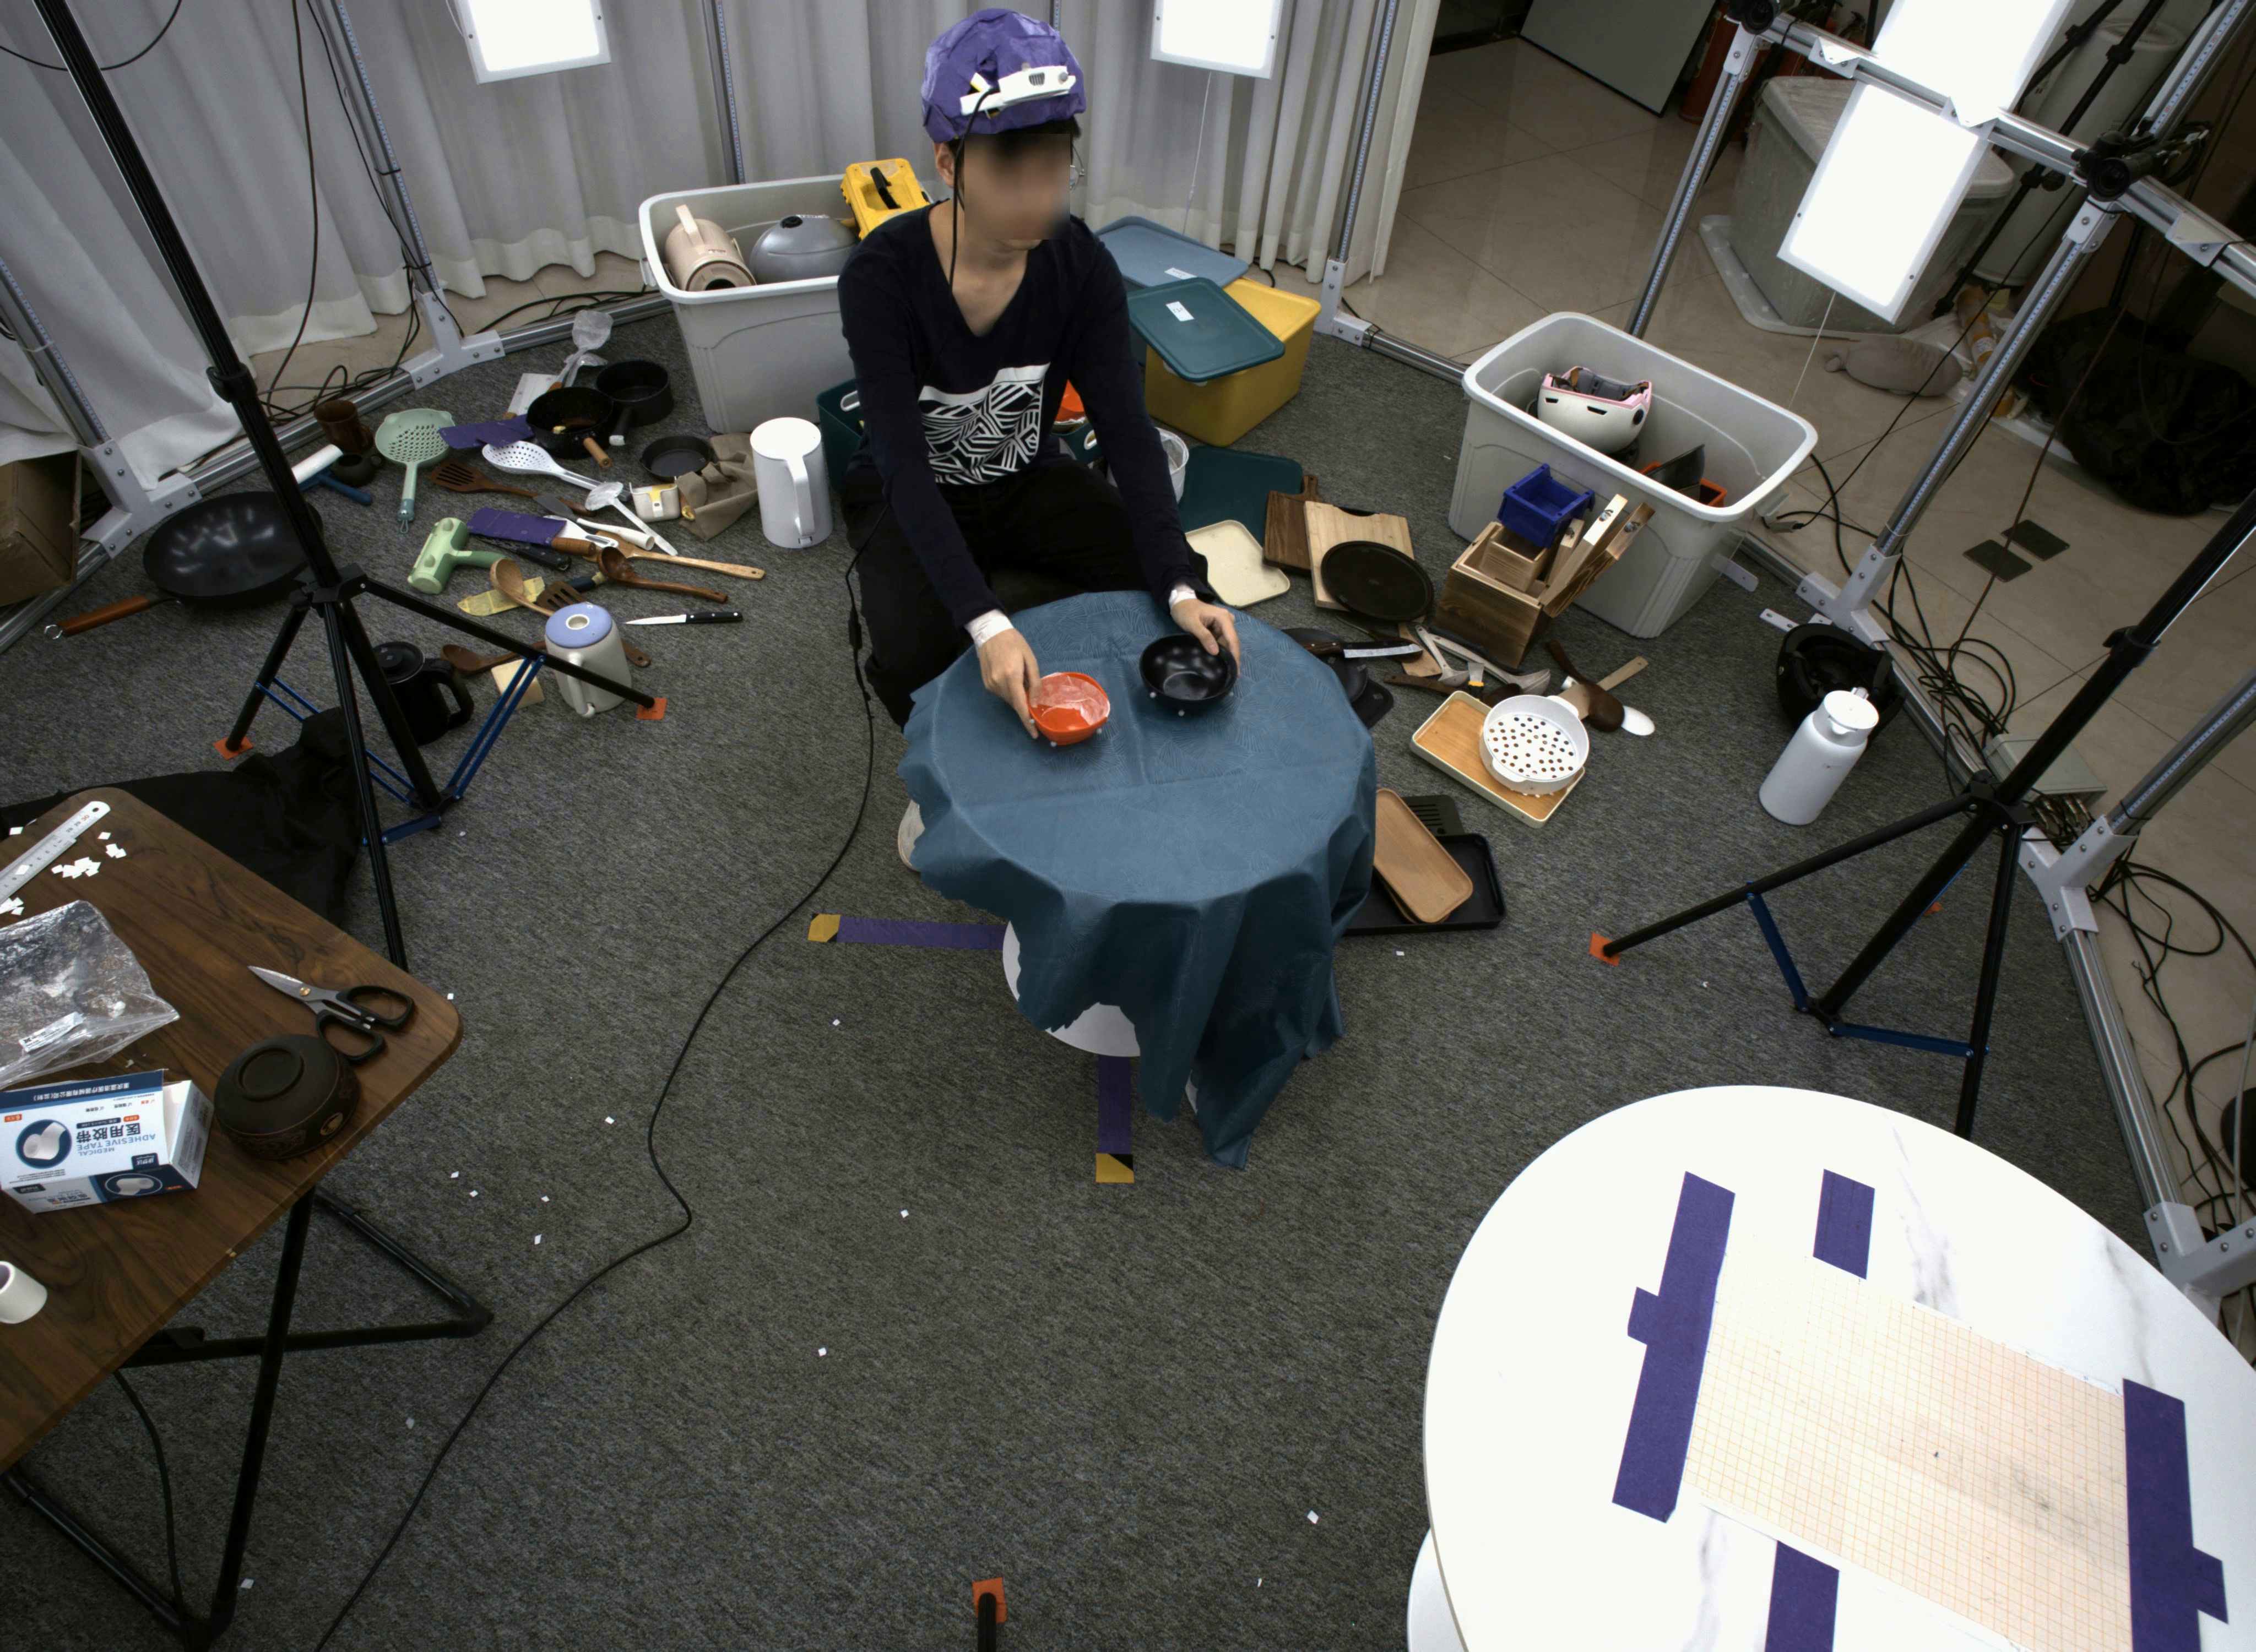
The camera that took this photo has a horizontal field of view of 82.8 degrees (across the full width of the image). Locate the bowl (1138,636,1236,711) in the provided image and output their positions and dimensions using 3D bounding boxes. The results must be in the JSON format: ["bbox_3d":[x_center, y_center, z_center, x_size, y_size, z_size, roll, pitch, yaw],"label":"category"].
[{"bbox_3d":[0.083,-0.209,1.825,0.140,0.048,0.143,1,46,-1],"label":"bowl"}]

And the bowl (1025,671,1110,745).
[{"bbox_3d":[-0.084,-0.156,1.762,0.119,0.050,0.122,2,51,-3],"label":"bowl"}]
